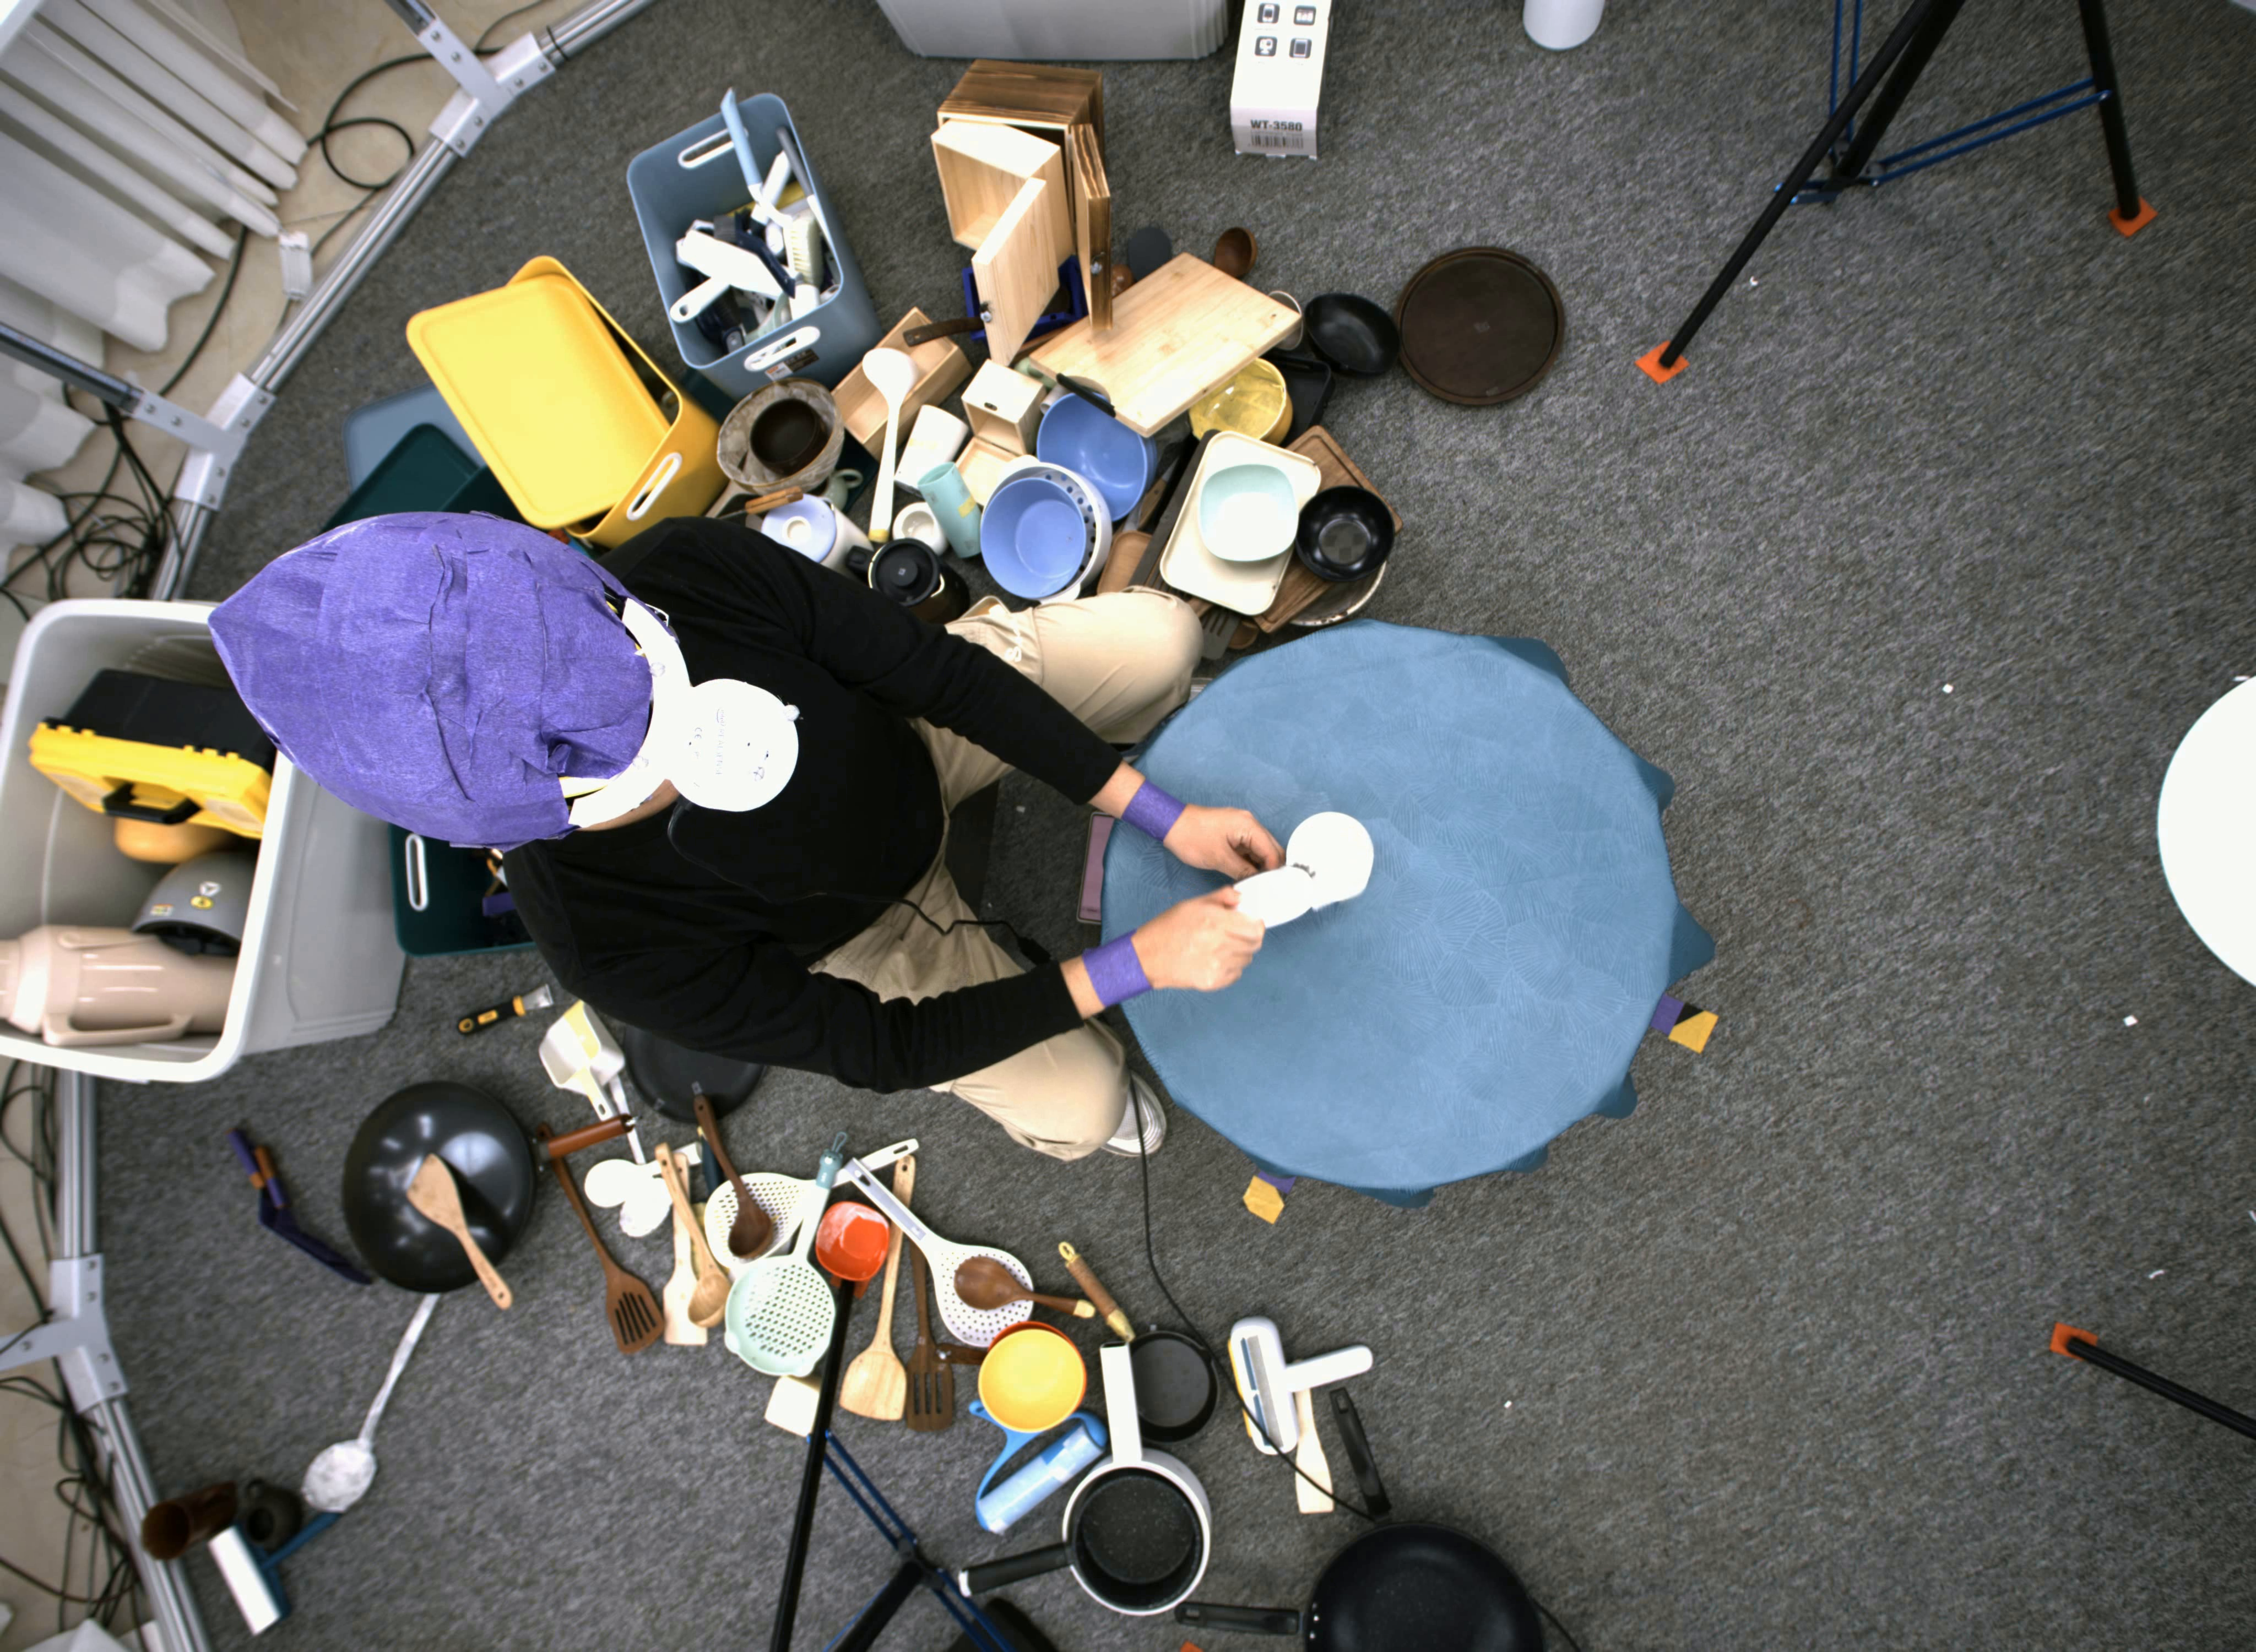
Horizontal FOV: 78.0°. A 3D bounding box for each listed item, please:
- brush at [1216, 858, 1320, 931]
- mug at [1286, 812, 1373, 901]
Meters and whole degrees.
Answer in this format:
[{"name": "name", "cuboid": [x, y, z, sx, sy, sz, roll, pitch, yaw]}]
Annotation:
[{"name": "brush", "cuboid": [0.131, 0.068, 1.336, 0.100, 0.072, 0.050, -26, 88, 20]}, {"name": "mug", "cuboid": [0.194, 0.041, 1.422, 0.119, 0.102, 0.084, -32, 81, 6]}]
